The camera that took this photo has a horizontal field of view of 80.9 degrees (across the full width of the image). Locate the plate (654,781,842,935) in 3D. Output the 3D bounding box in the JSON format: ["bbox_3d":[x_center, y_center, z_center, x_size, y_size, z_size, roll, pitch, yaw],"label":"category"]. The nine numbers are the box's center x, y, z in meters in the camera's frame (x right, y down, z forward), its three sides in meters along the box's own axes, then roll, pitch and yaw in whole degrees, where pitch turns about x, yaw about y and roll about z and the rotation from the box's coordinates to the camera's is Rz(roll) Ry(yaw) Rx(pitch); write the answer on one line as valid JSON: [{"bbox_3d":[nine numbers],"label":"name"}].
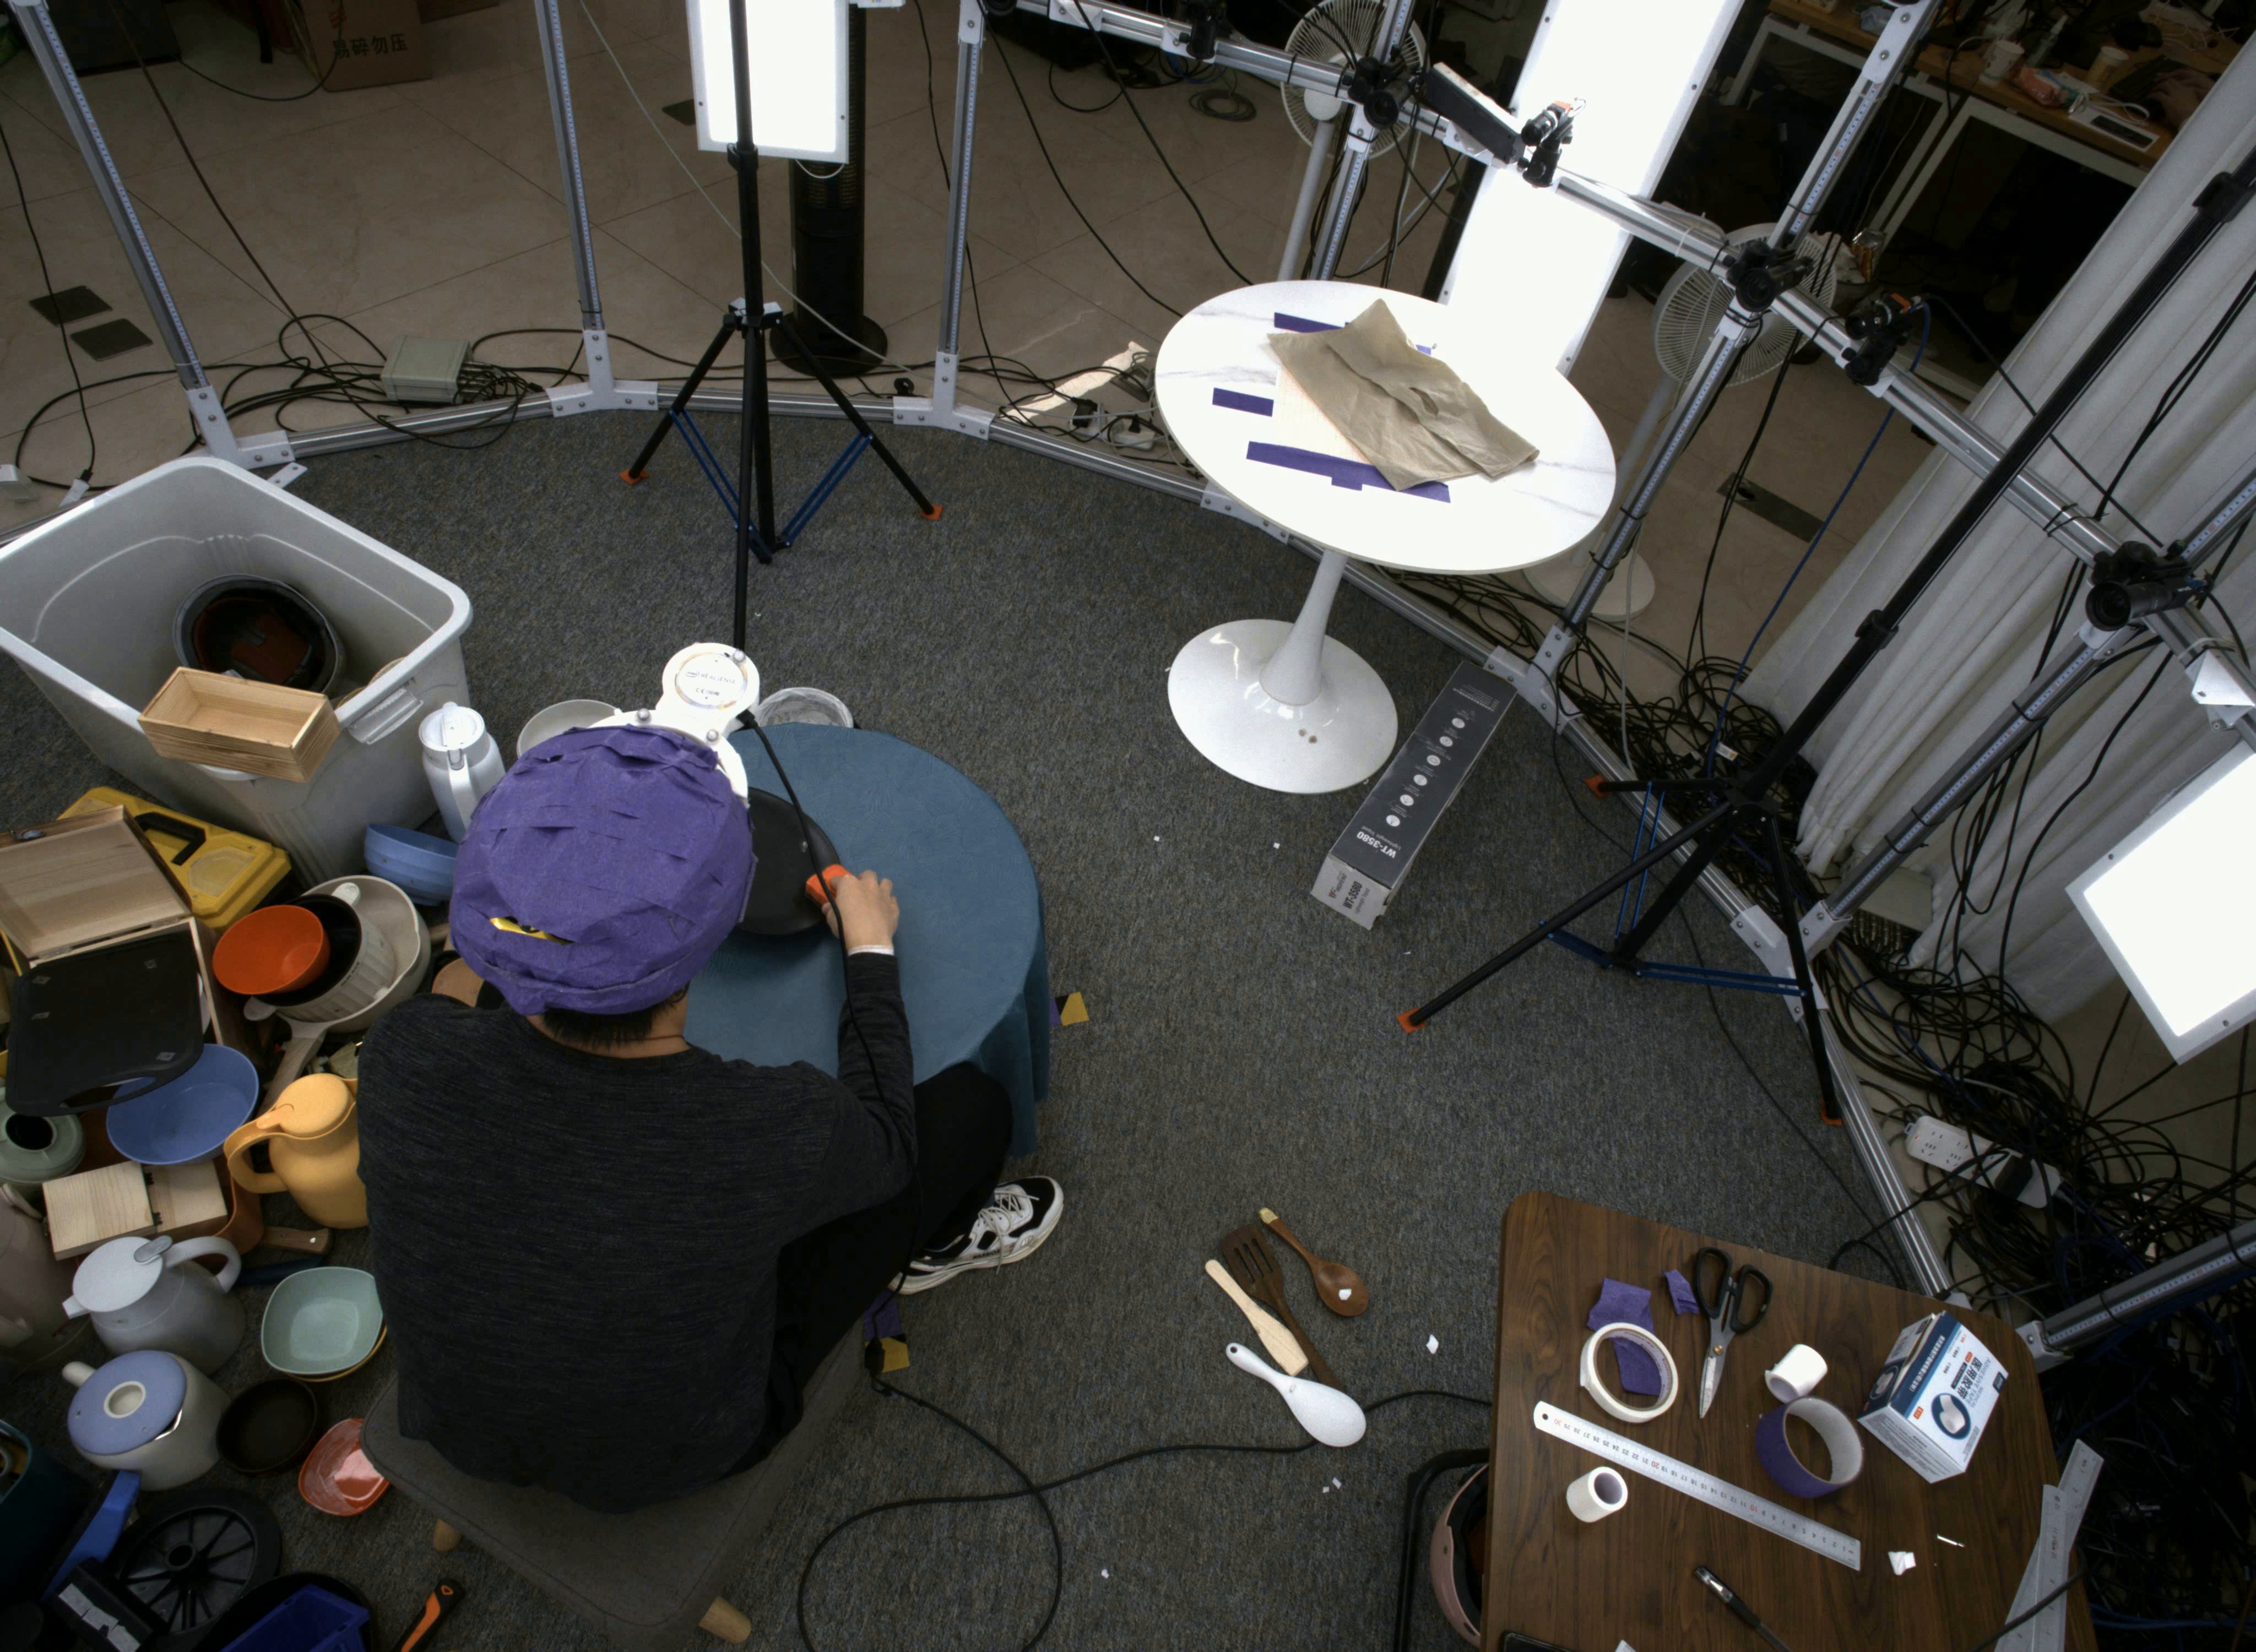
[{"bbox_3d":[-0.473,0.041,1.615,0.249,0.023,0.239,27,37,-20],"label":"plate"}]

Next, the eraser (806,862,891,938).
[{"bbox_3d":[-0.352,0.090,1.635,0.105,0.023,0.059,37,44,19],"label":"eraser"}]
